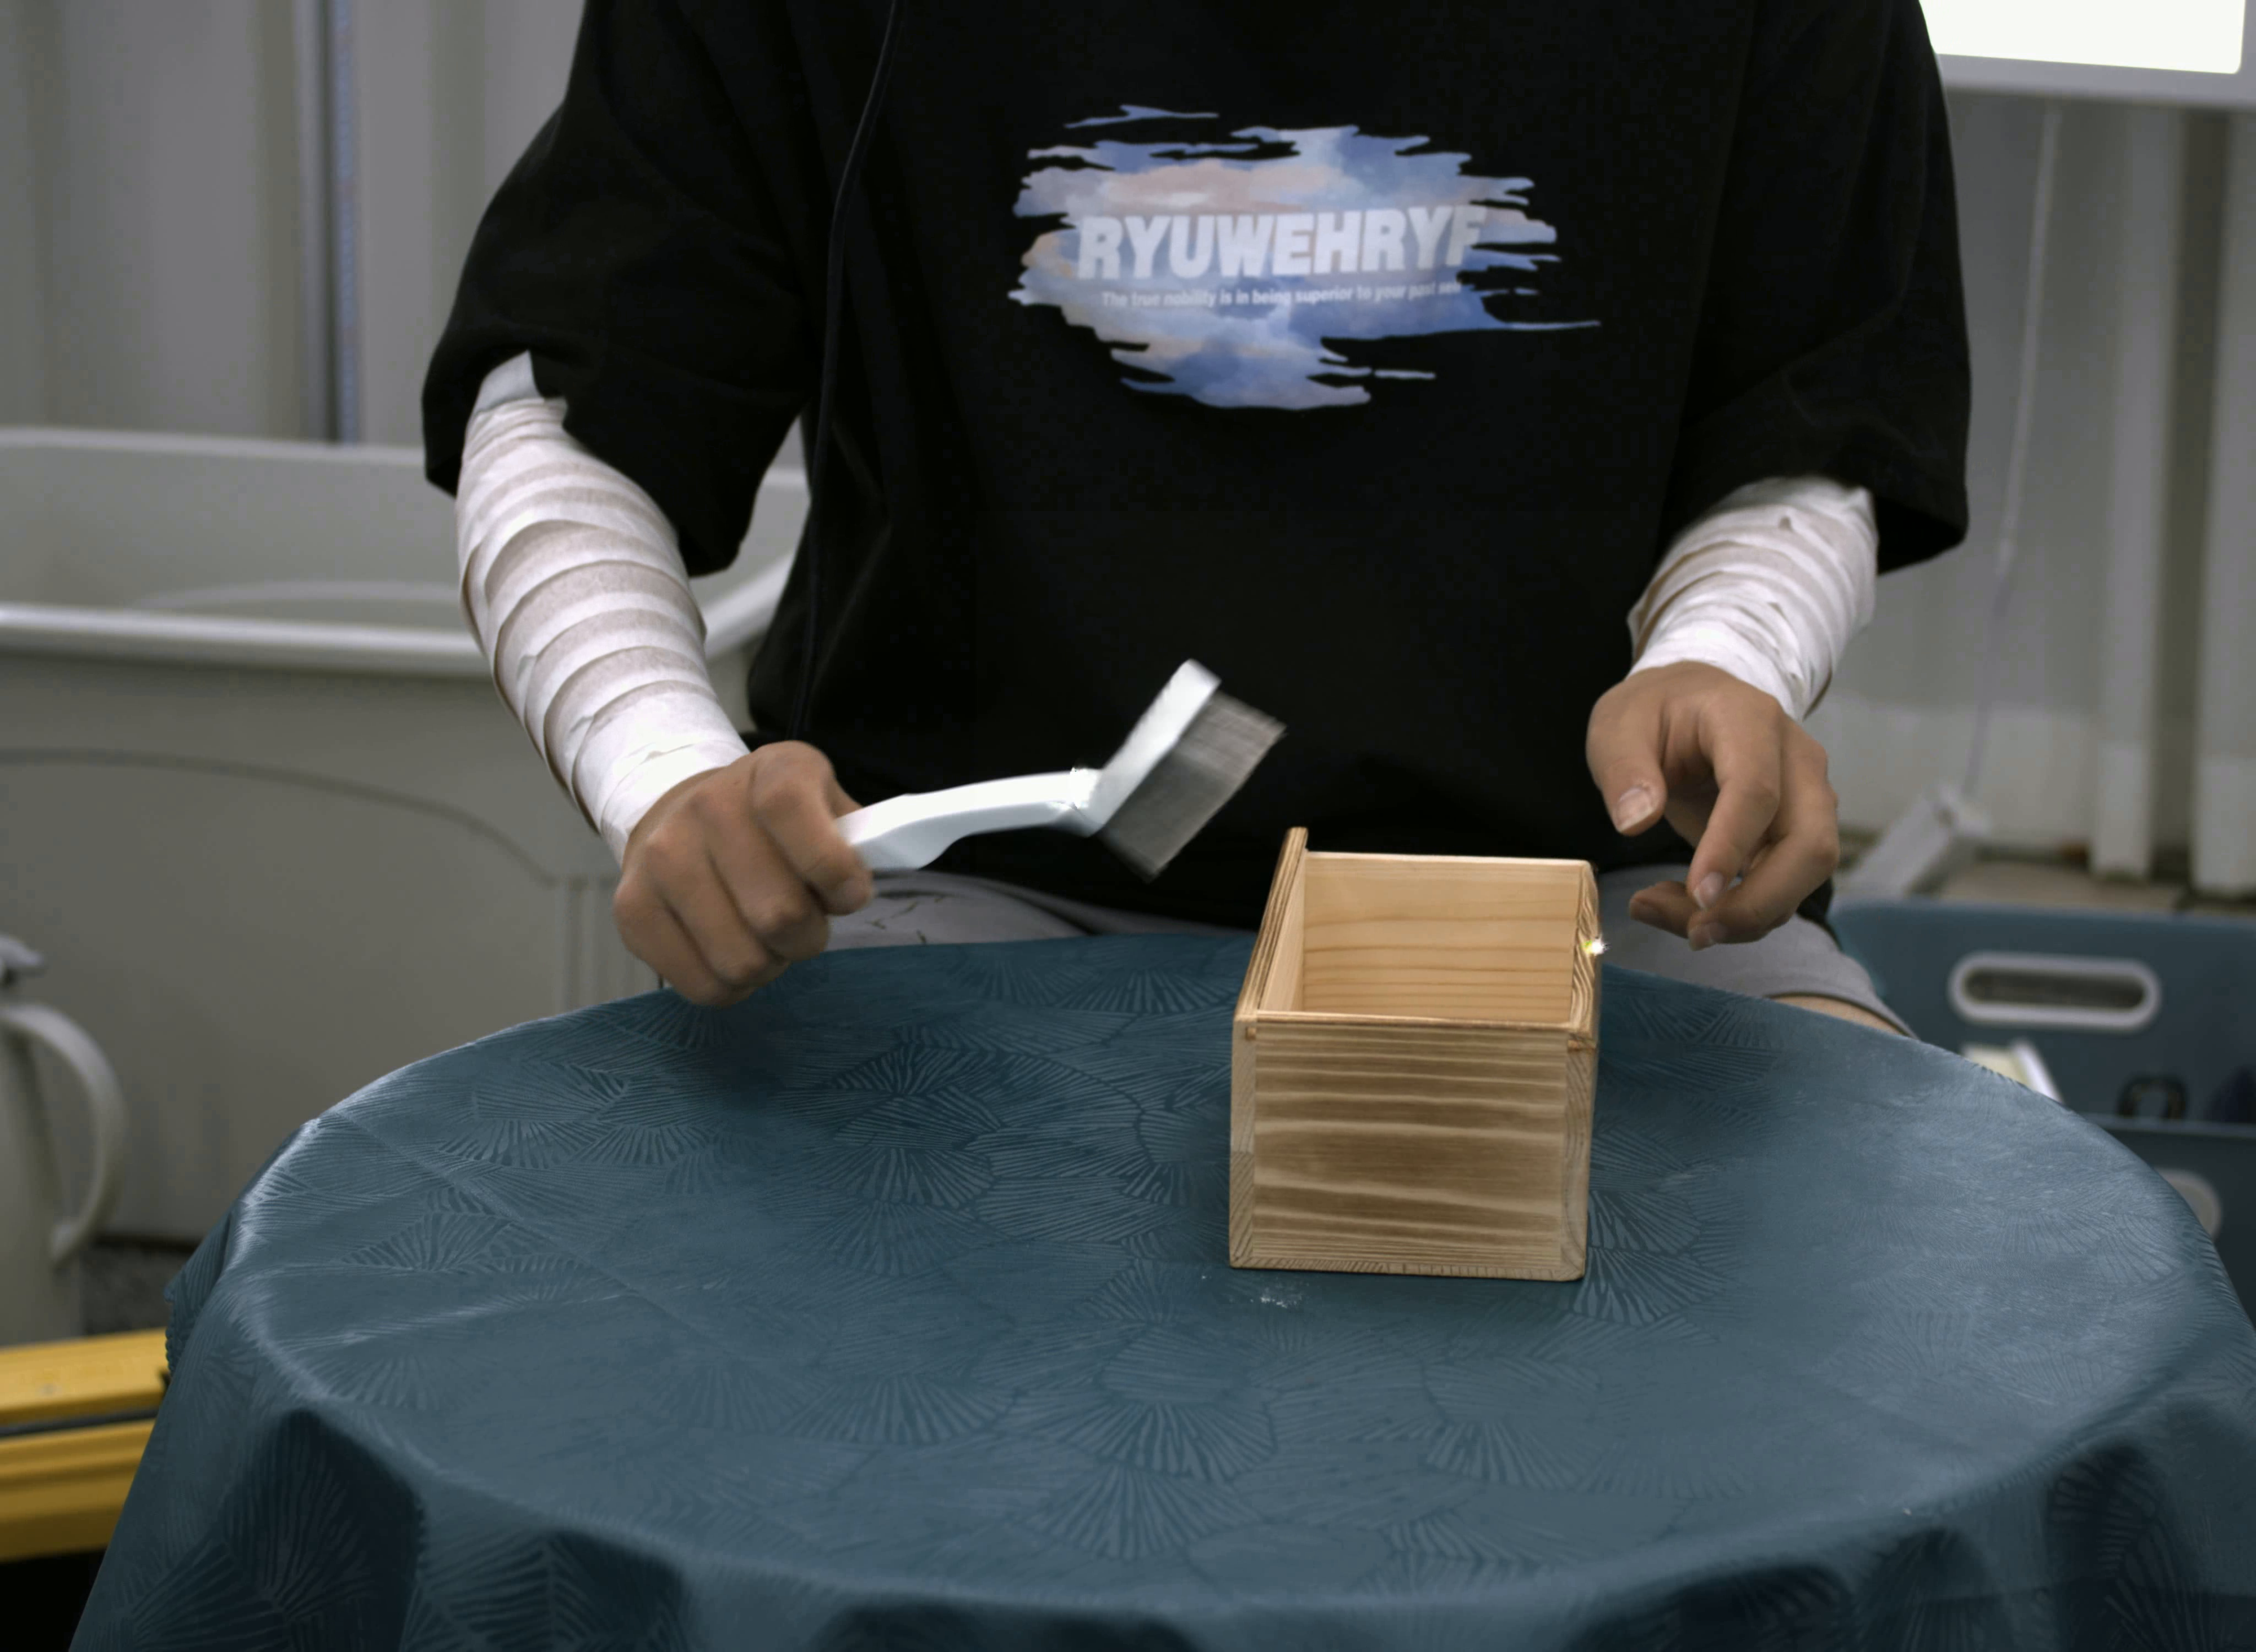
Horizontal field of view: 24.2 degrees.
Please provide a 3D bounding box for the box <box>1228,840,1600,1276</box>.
[{"bbox_3d":[0.092,0.068,1.640,0.107,0.081,0.210,1,14,5],"label":"box"}]

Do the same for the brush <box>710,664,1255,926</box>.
[{"bbox_3d":[-0.047,0.007,1.641,0.242,0.050,0.034,-24,24,47],"label":"brush"}]
